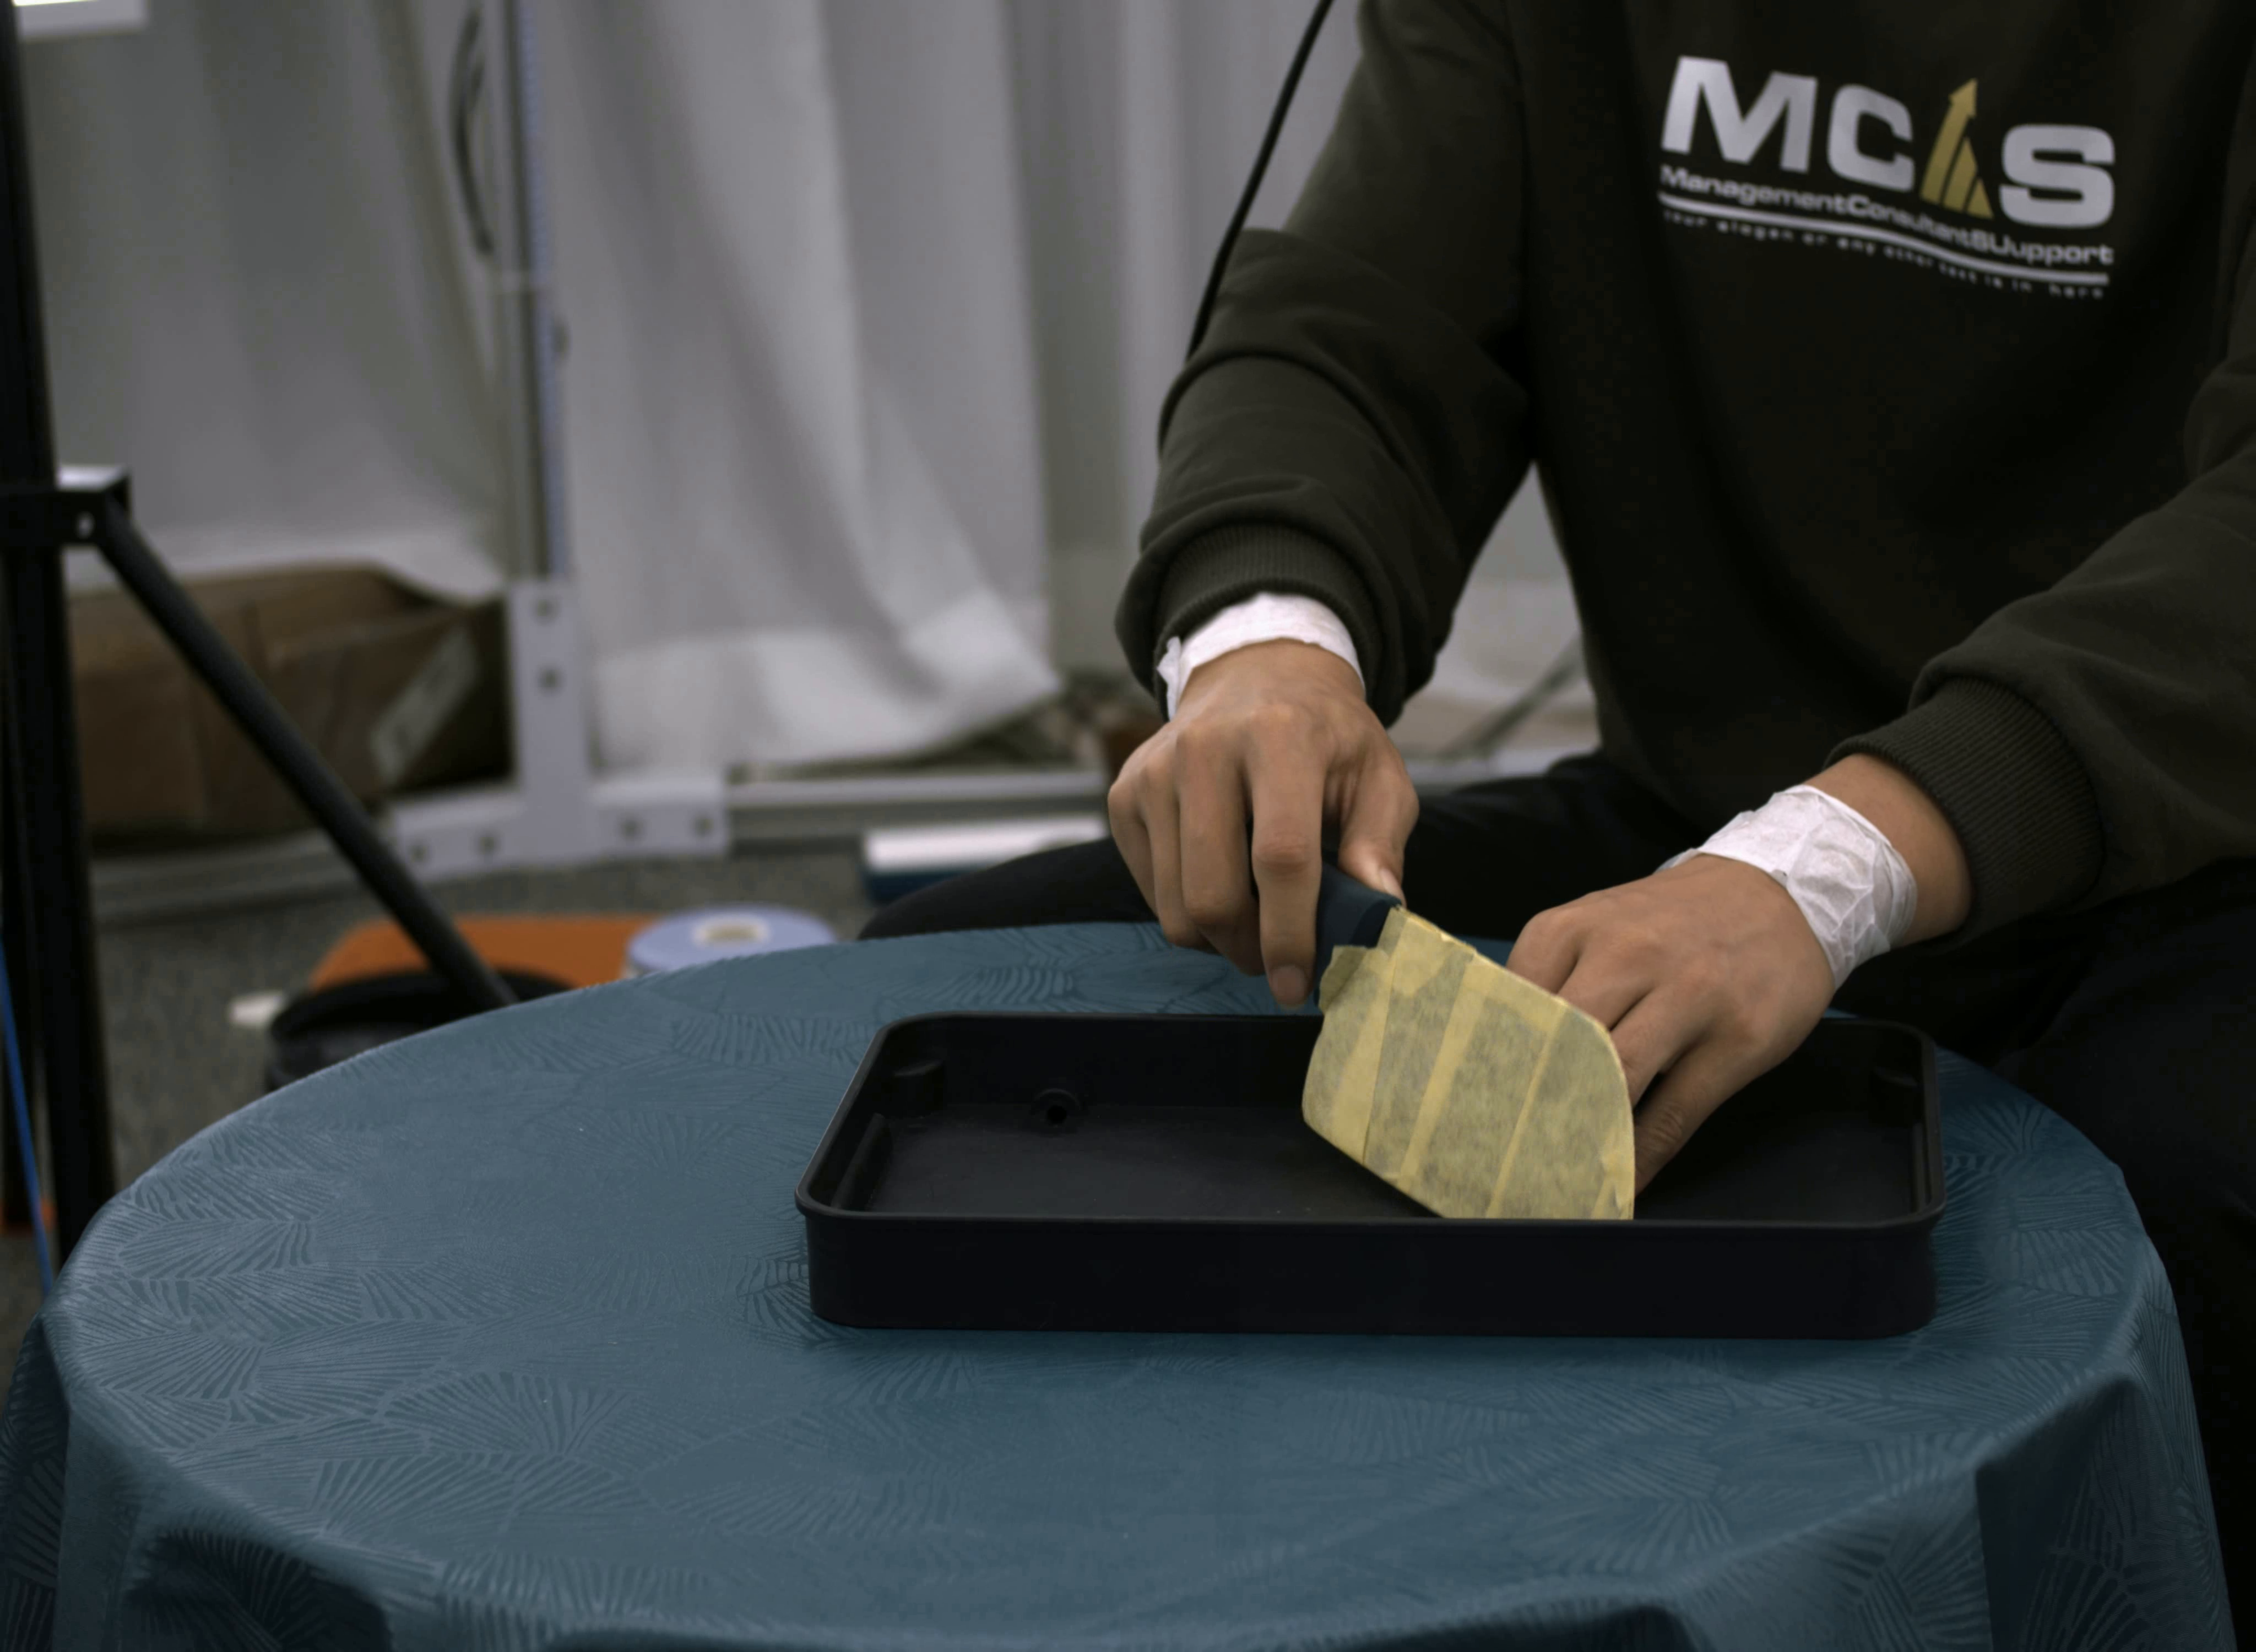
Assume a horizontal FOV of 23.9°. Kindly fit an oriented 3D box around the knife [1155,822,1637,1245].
[{"bbox_3d":[0.074,0.060,1.554,0.026,0.081,0.295,17,10,-30],"label":"knife"}]

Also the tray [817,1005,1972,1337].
[{"bbox_3d":[0.078,0.097,1.520,0.318,0.037,0.184,0,16,7],"label":"tray"}]
